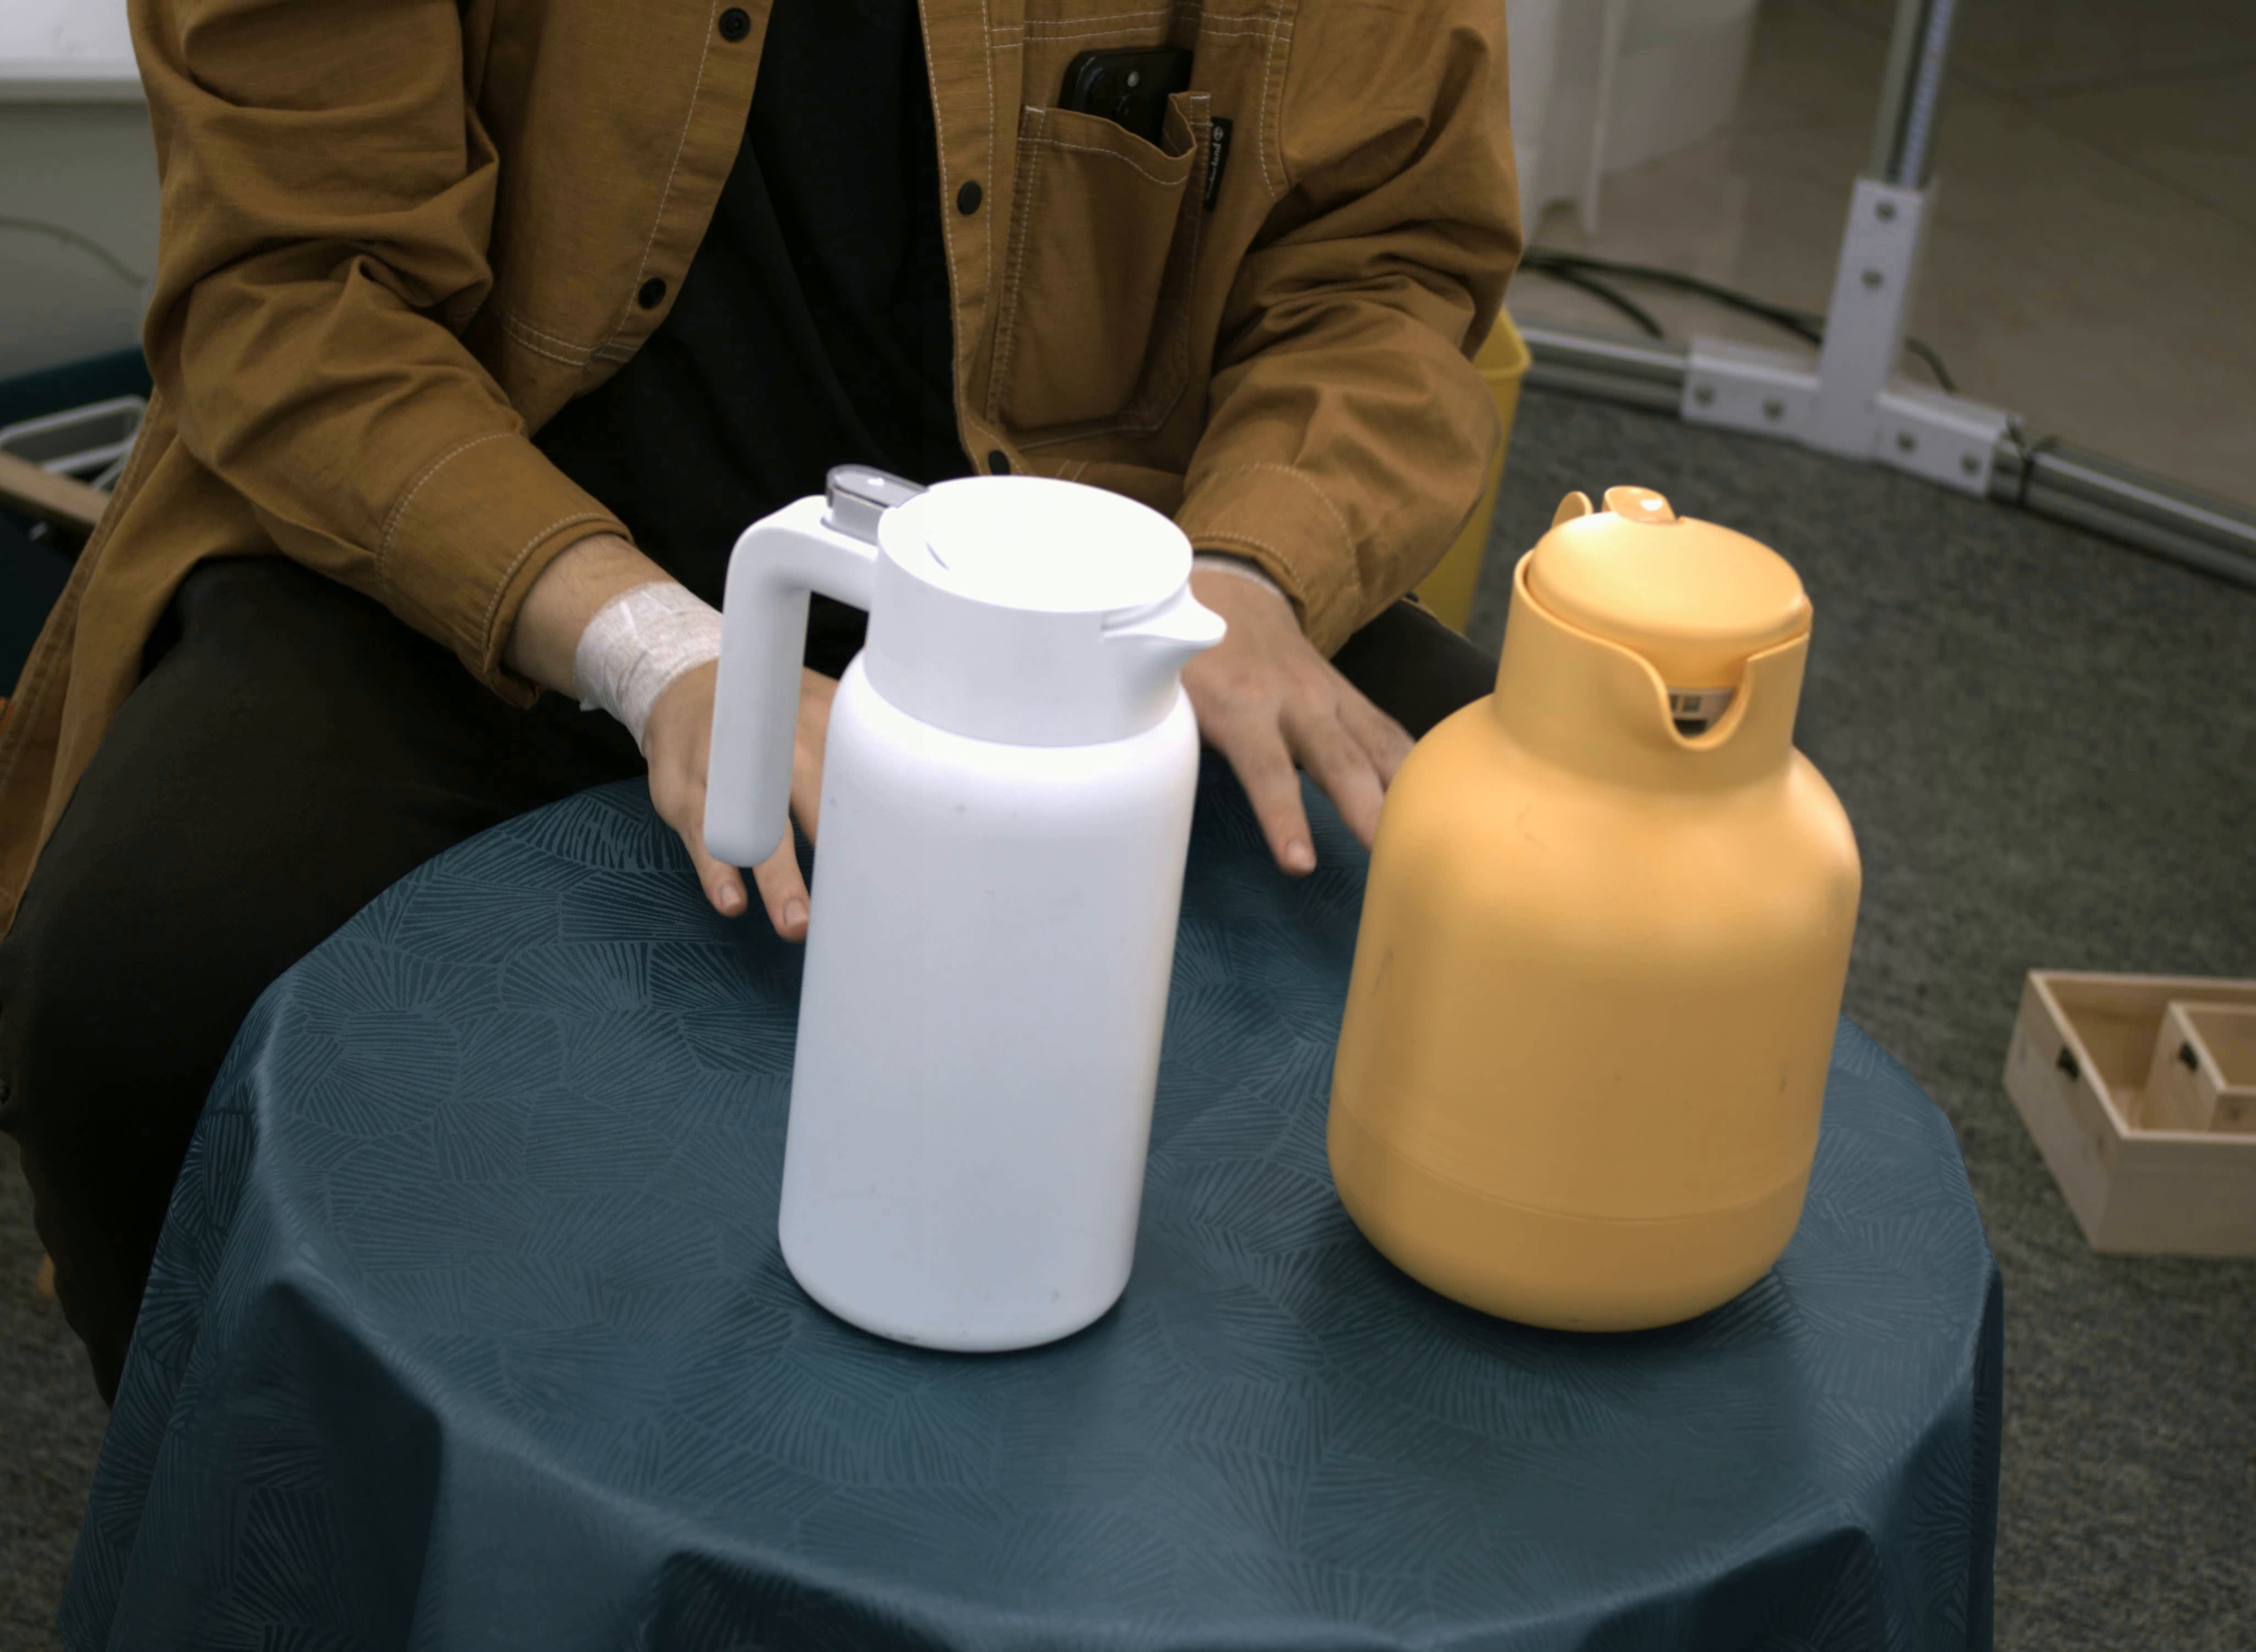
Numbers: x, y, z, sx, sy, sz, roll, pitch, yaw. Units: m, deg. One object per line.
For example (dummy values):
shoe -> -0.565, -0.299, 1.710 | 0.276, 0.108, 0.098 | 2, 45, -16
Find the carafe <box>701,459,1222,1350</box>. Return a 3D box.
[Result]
carafe -> -0.059, 0.022, 1.697 | 0.173, 0.268, 0.123 | 20, 31, 25

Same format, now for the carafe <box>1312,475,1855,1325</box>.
carafe -> 0.156, 0.015, 1.764 | 0.163, 0.259, 0.204 | 7, 28, -7
